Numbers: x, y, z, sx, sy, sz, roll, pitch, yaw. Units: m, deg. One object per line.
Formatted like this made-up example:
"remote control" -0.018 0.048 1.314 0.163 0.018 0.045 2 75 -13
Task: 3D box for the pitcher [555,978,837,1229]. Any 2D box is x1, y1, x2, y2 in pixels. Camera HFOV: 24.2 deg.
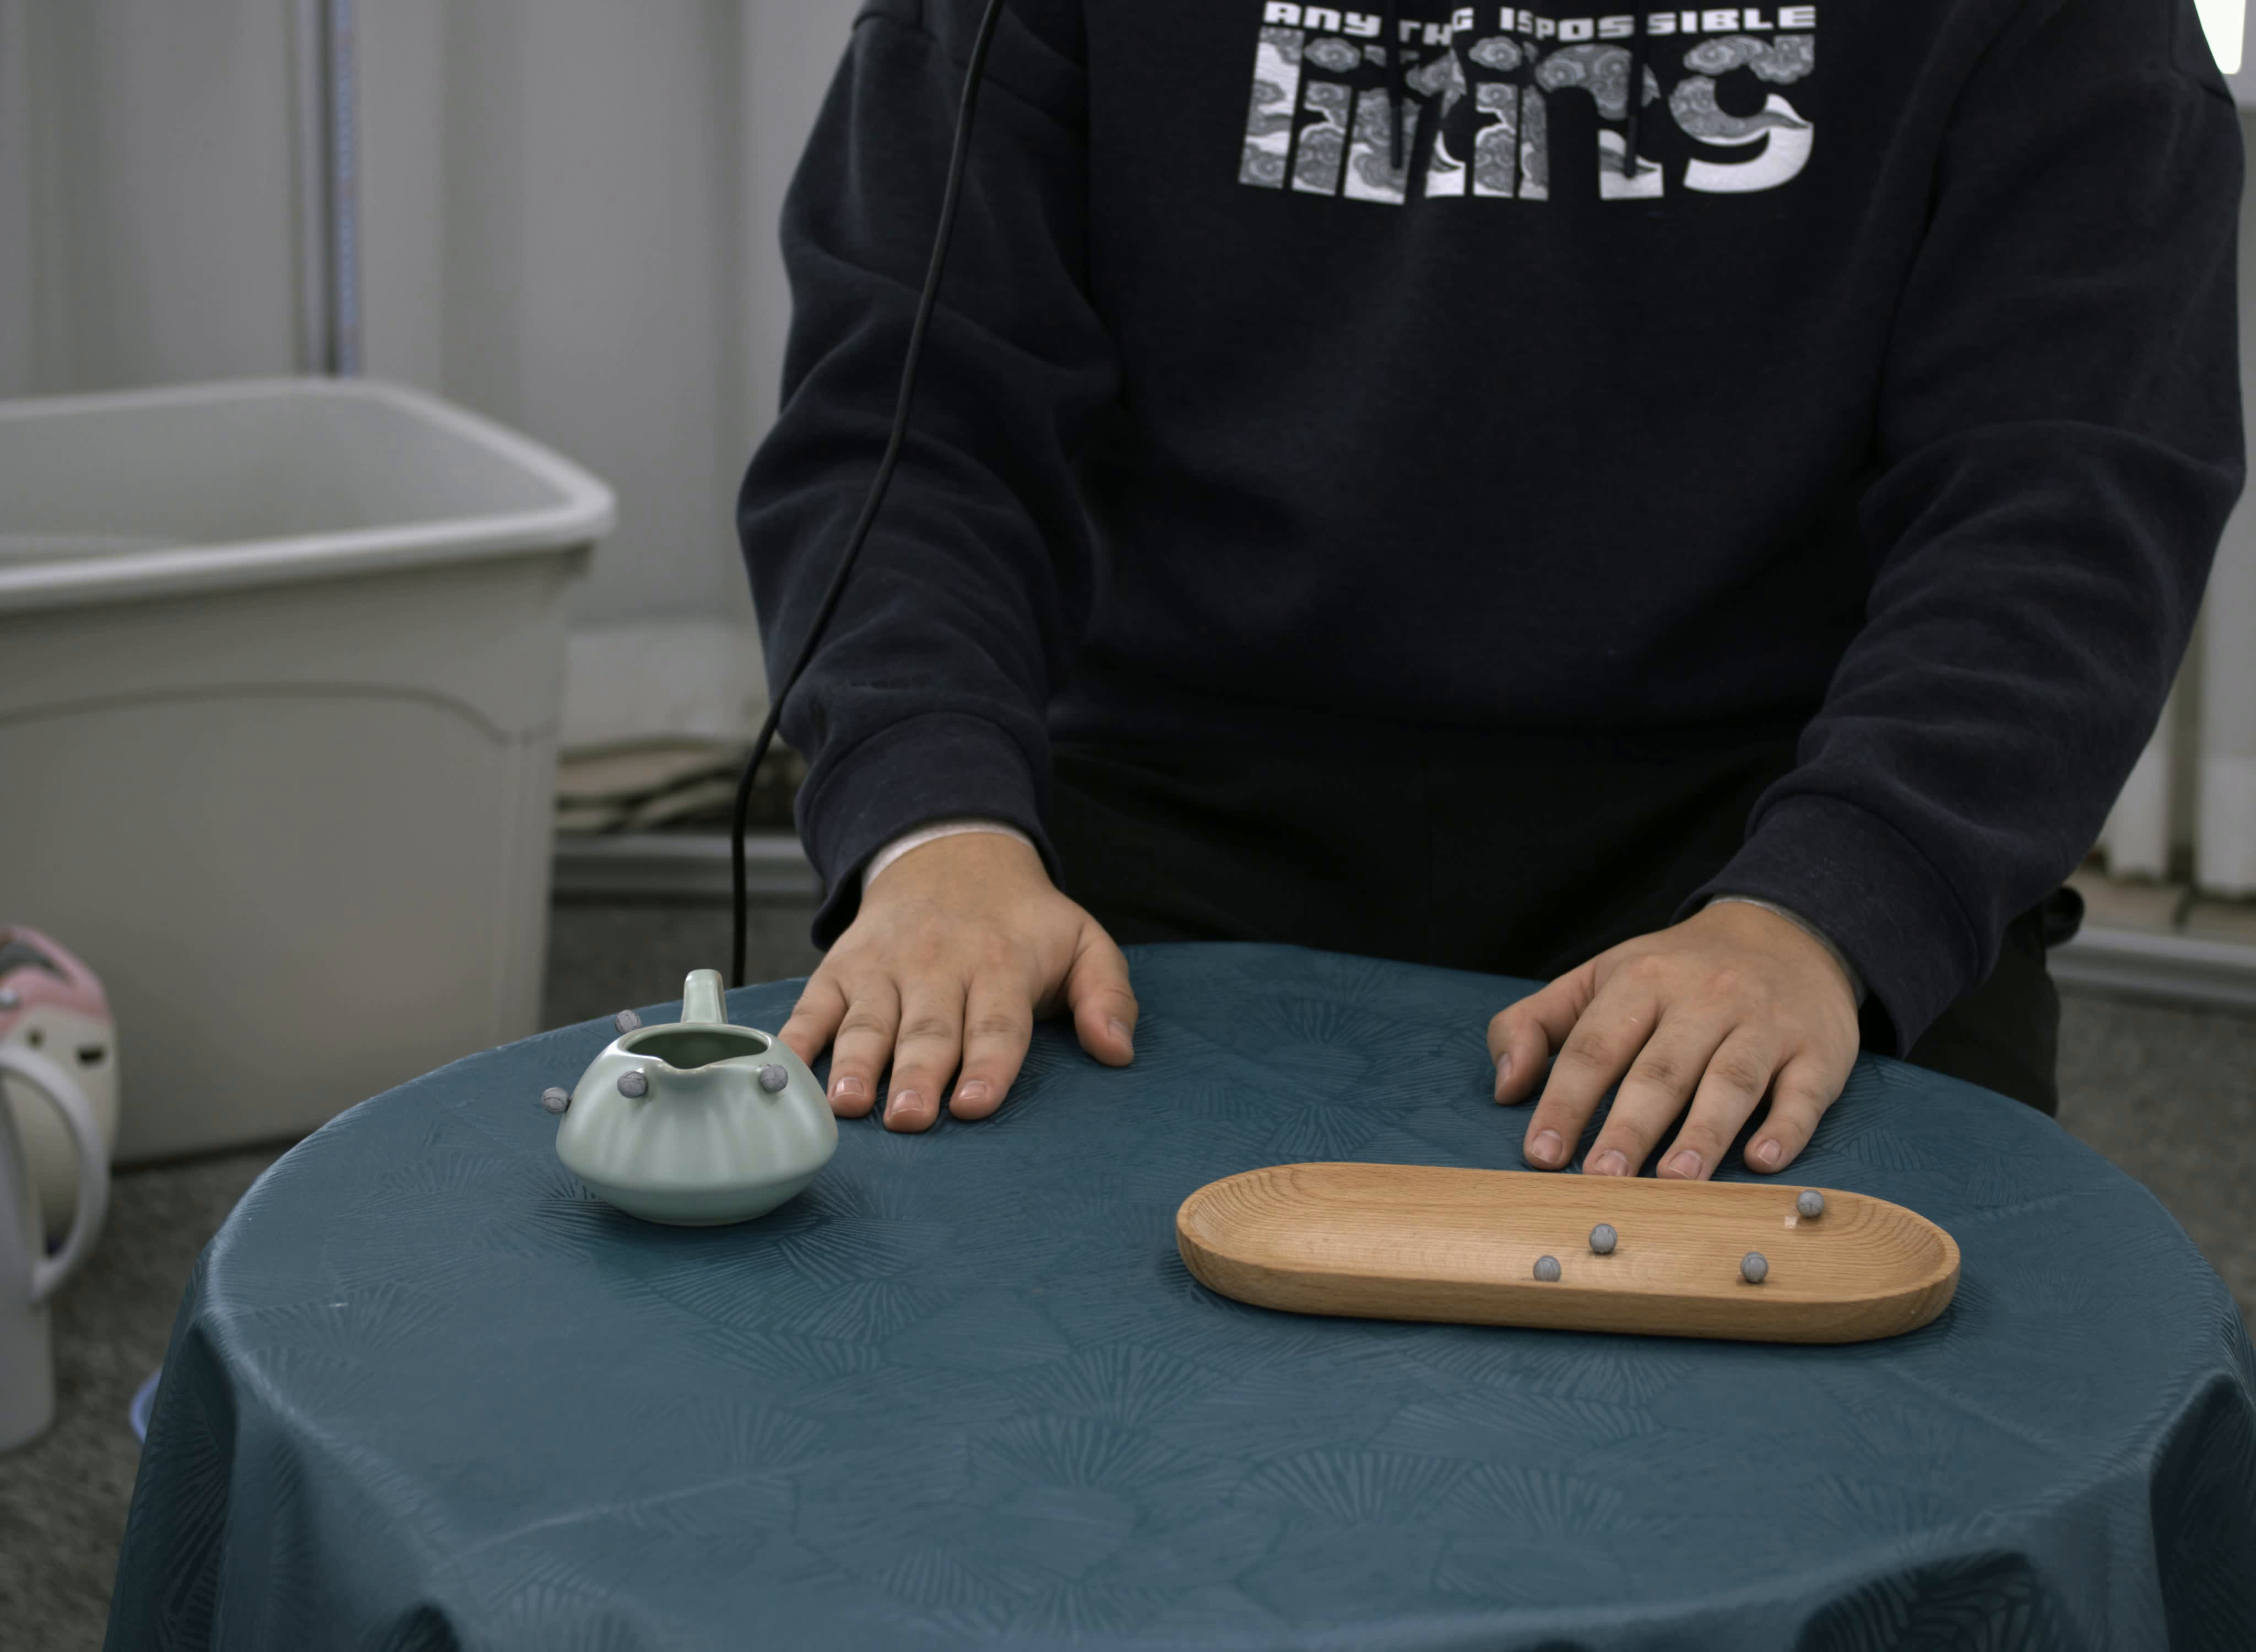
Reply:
"pitcher" -0.132 0.085 1.613 0.086 0.061 0.107 1 13 -3

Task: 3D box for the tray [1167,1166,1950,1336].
"tray" 0.126 0.125 1.556 0.230 0.020 0.101 1 14 7
